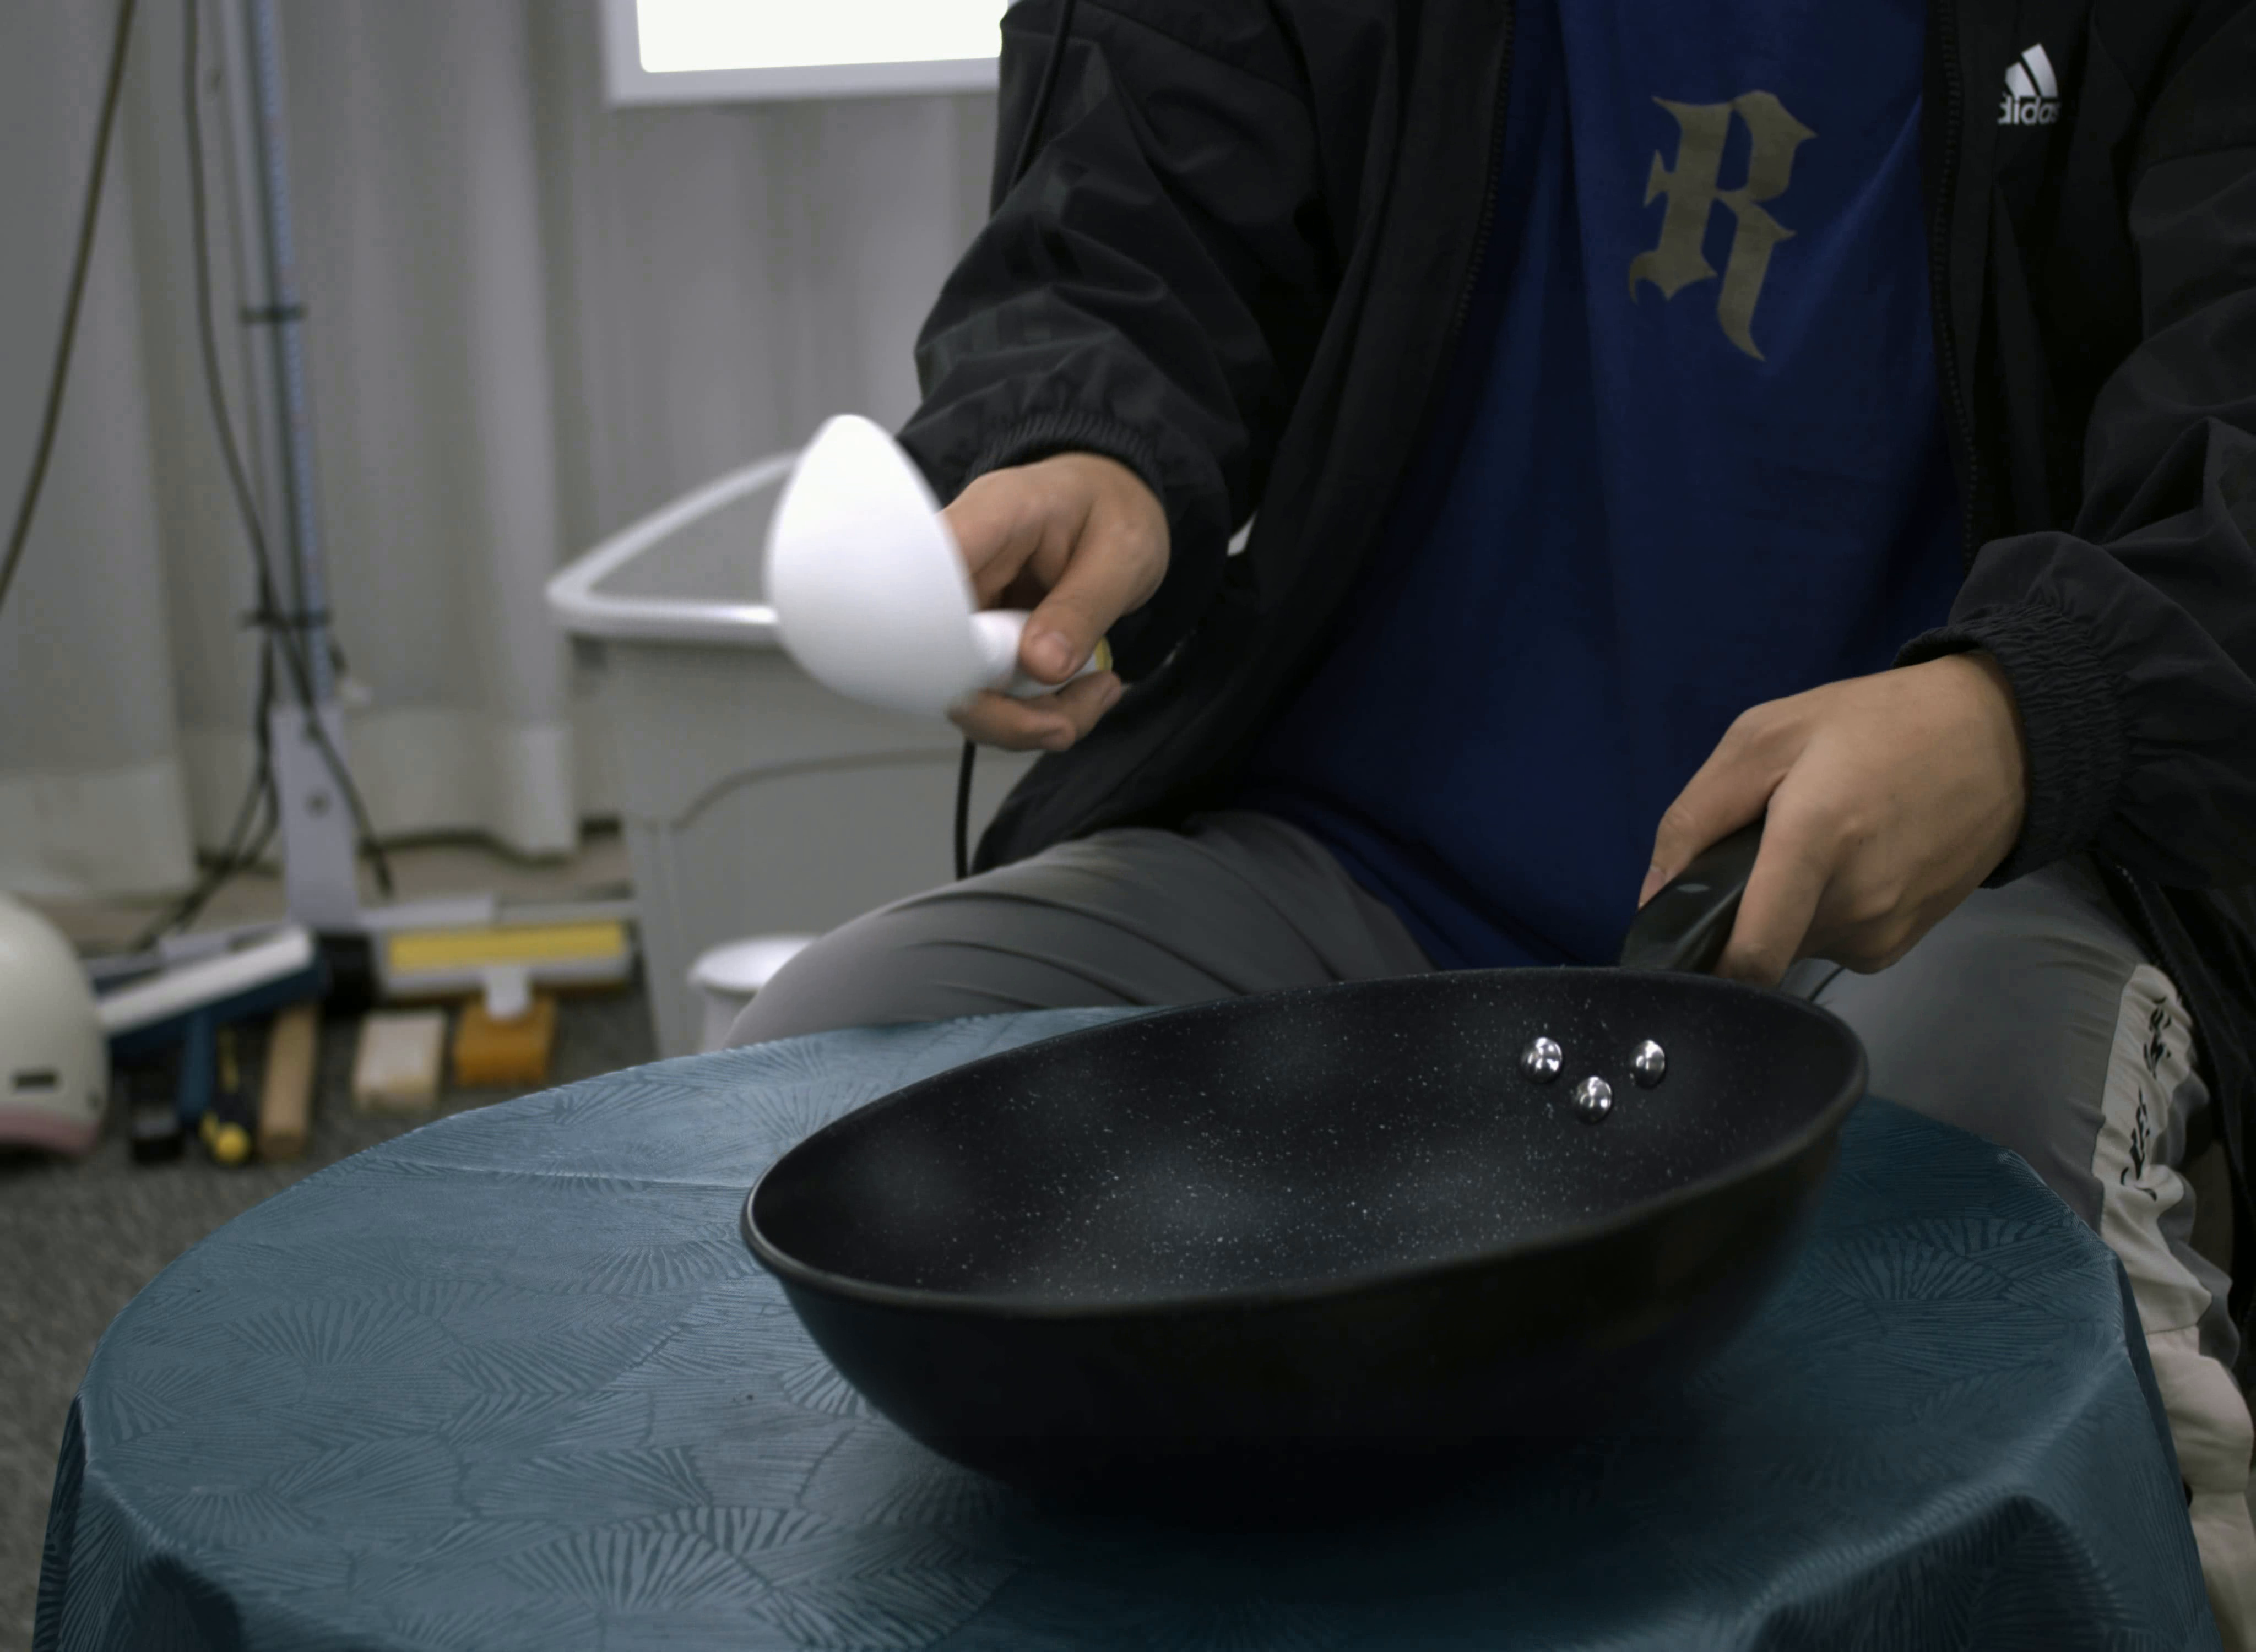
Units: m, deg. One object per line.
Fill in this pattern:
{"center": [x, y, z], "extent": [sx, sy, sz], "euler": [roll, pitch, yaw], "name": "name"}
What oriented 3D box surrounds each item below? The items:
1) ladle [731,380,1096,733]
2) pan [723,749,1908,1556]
{"center": [-0.050, -0.069, 1.646], "extent": [0.070, 0.091, 0.291], "euler": [-38, -14, 10], "name": "ladle"}
{"center": [0.097, 0.092, 1.539], "extent": [0.311, 0.111, 0.477], "euler": [3, 17, 38], "name": "pan"}
